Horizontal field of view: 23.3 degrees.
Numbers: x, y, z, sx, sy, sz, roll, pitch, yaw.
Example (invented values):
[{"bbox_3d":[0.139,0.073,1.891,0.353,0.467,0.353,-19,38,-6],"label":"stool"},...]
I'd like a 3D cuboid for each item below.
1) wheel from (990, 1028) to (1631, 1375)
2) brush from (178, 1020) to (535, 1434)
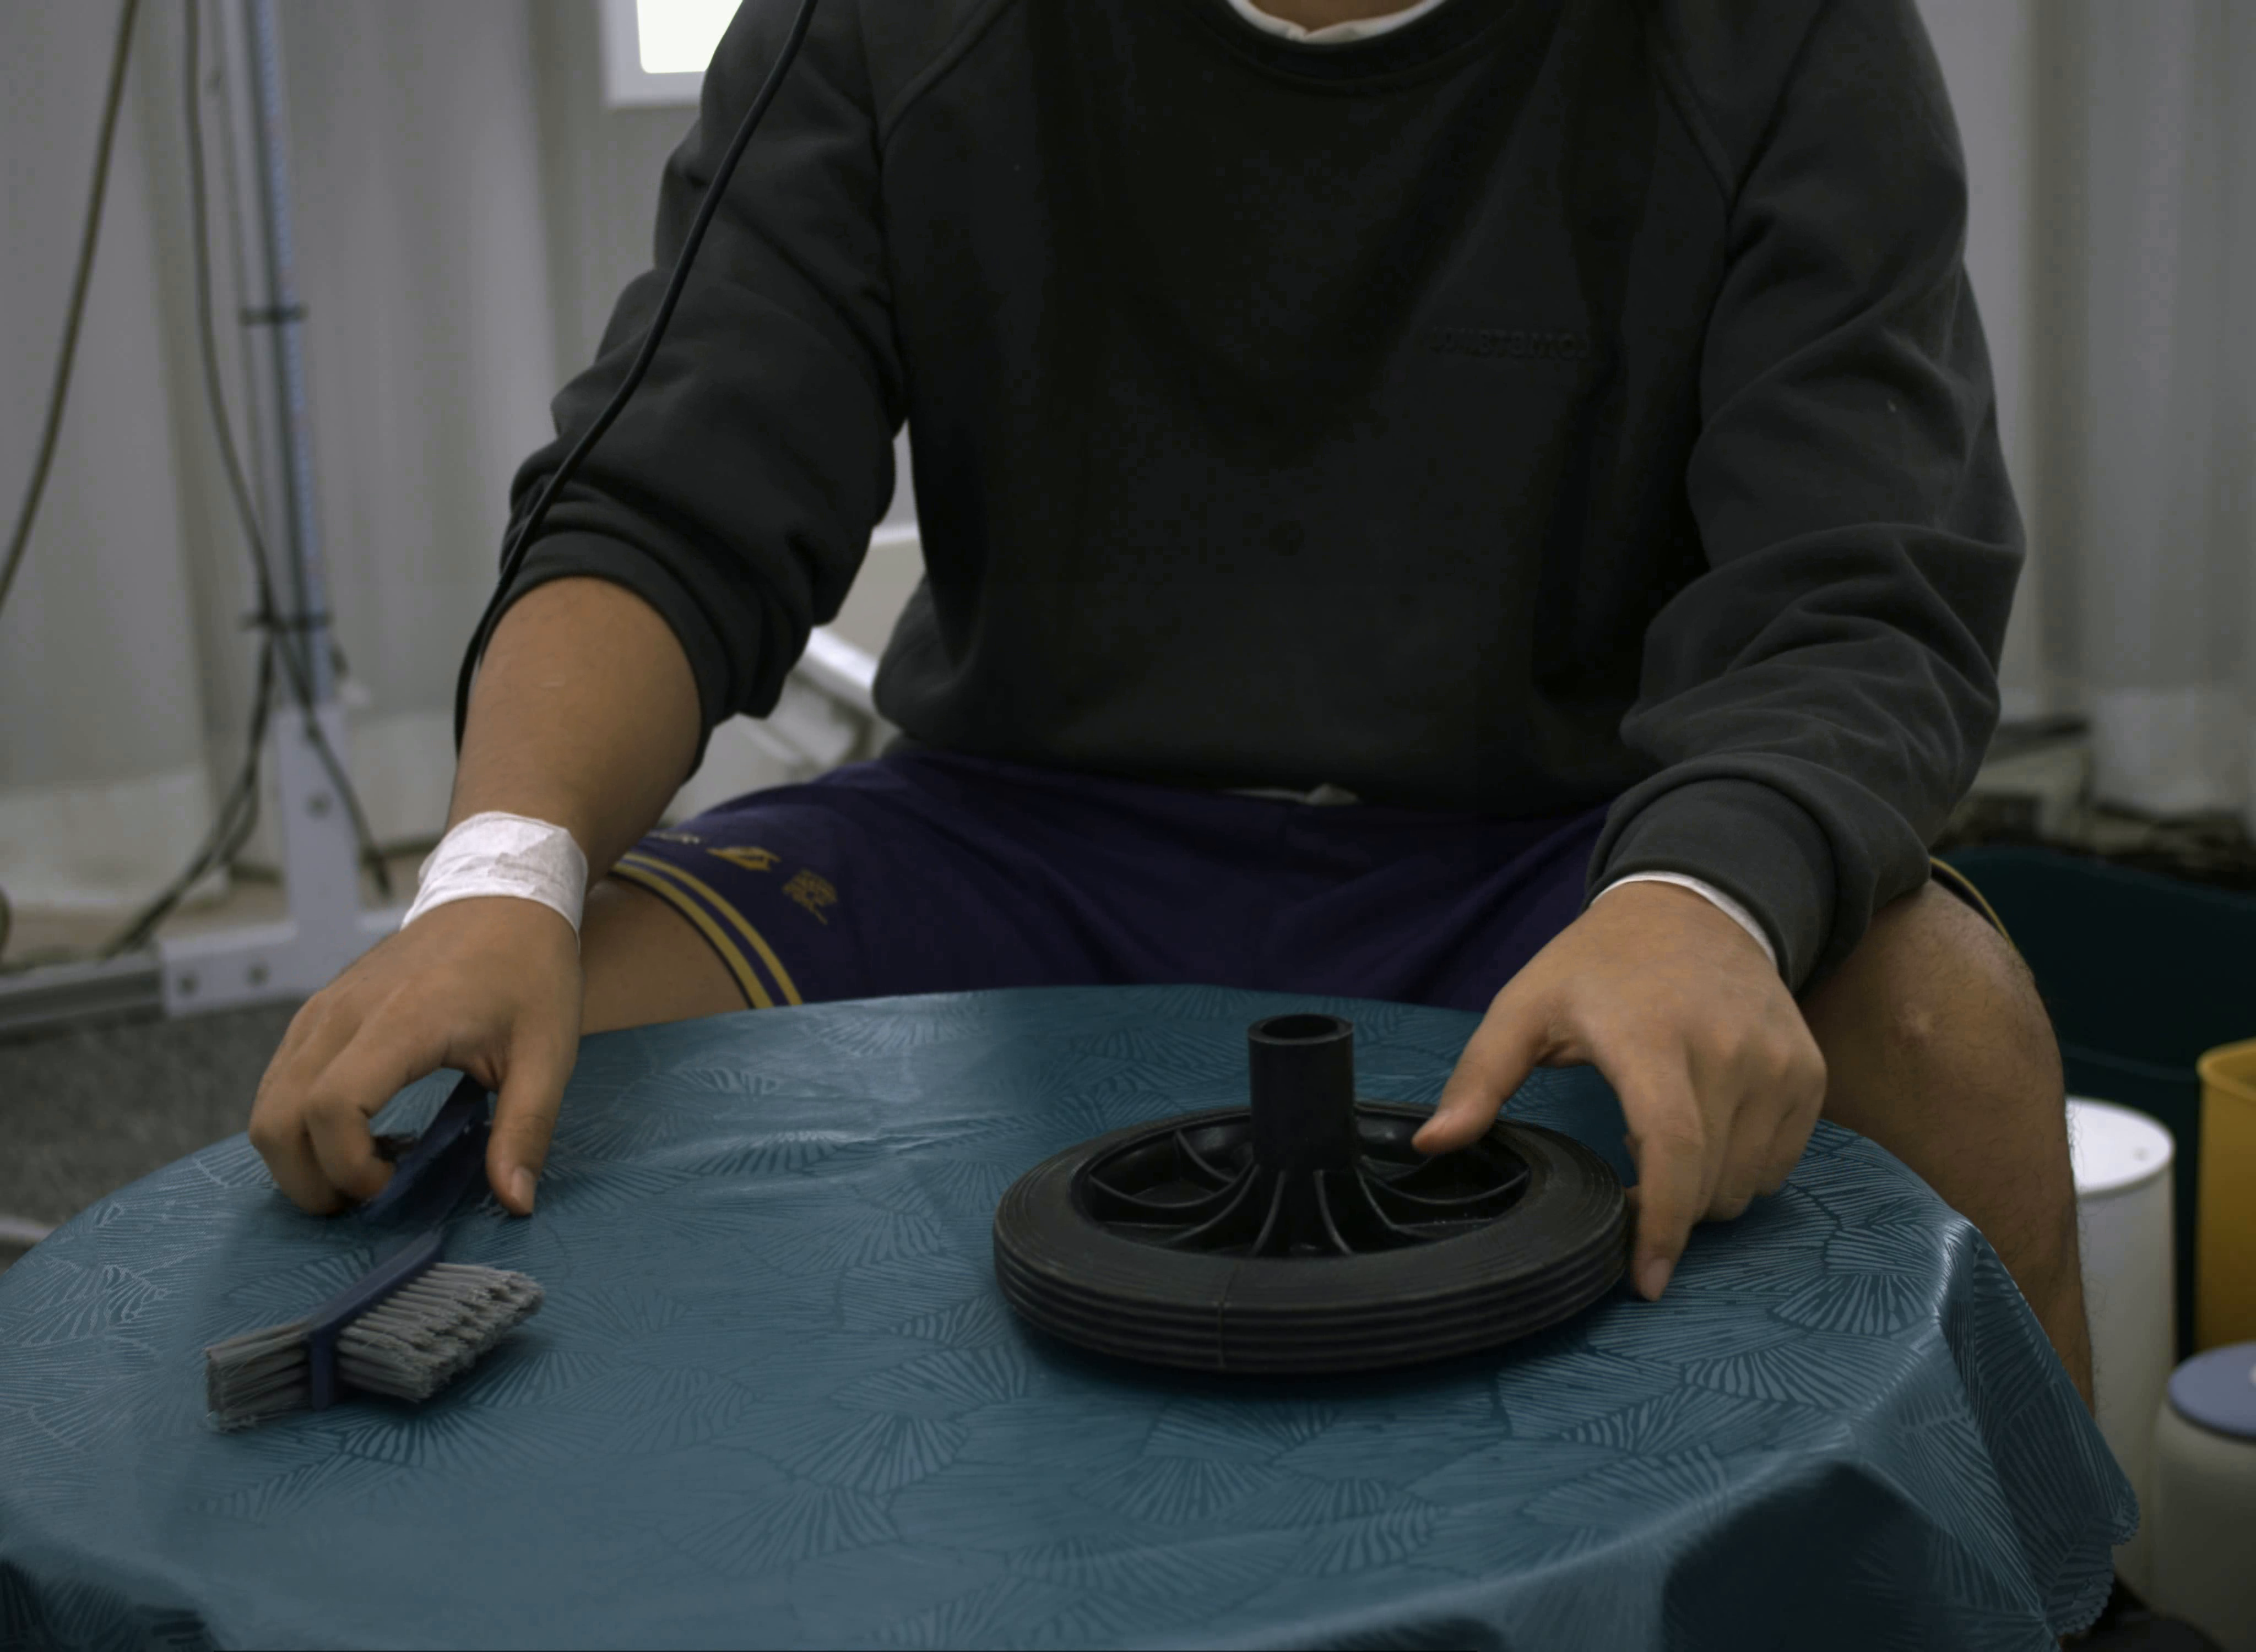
[{"bbox_3d":[0.052,0.101,1.608,0.187,0.079,0.191,-14,18,-35],"label":"wheel"},{"bbox_3d":[-0.227,0.120,1.680,0.095,0.033,0.275,-4,16,-1],"label":"brush"}]
